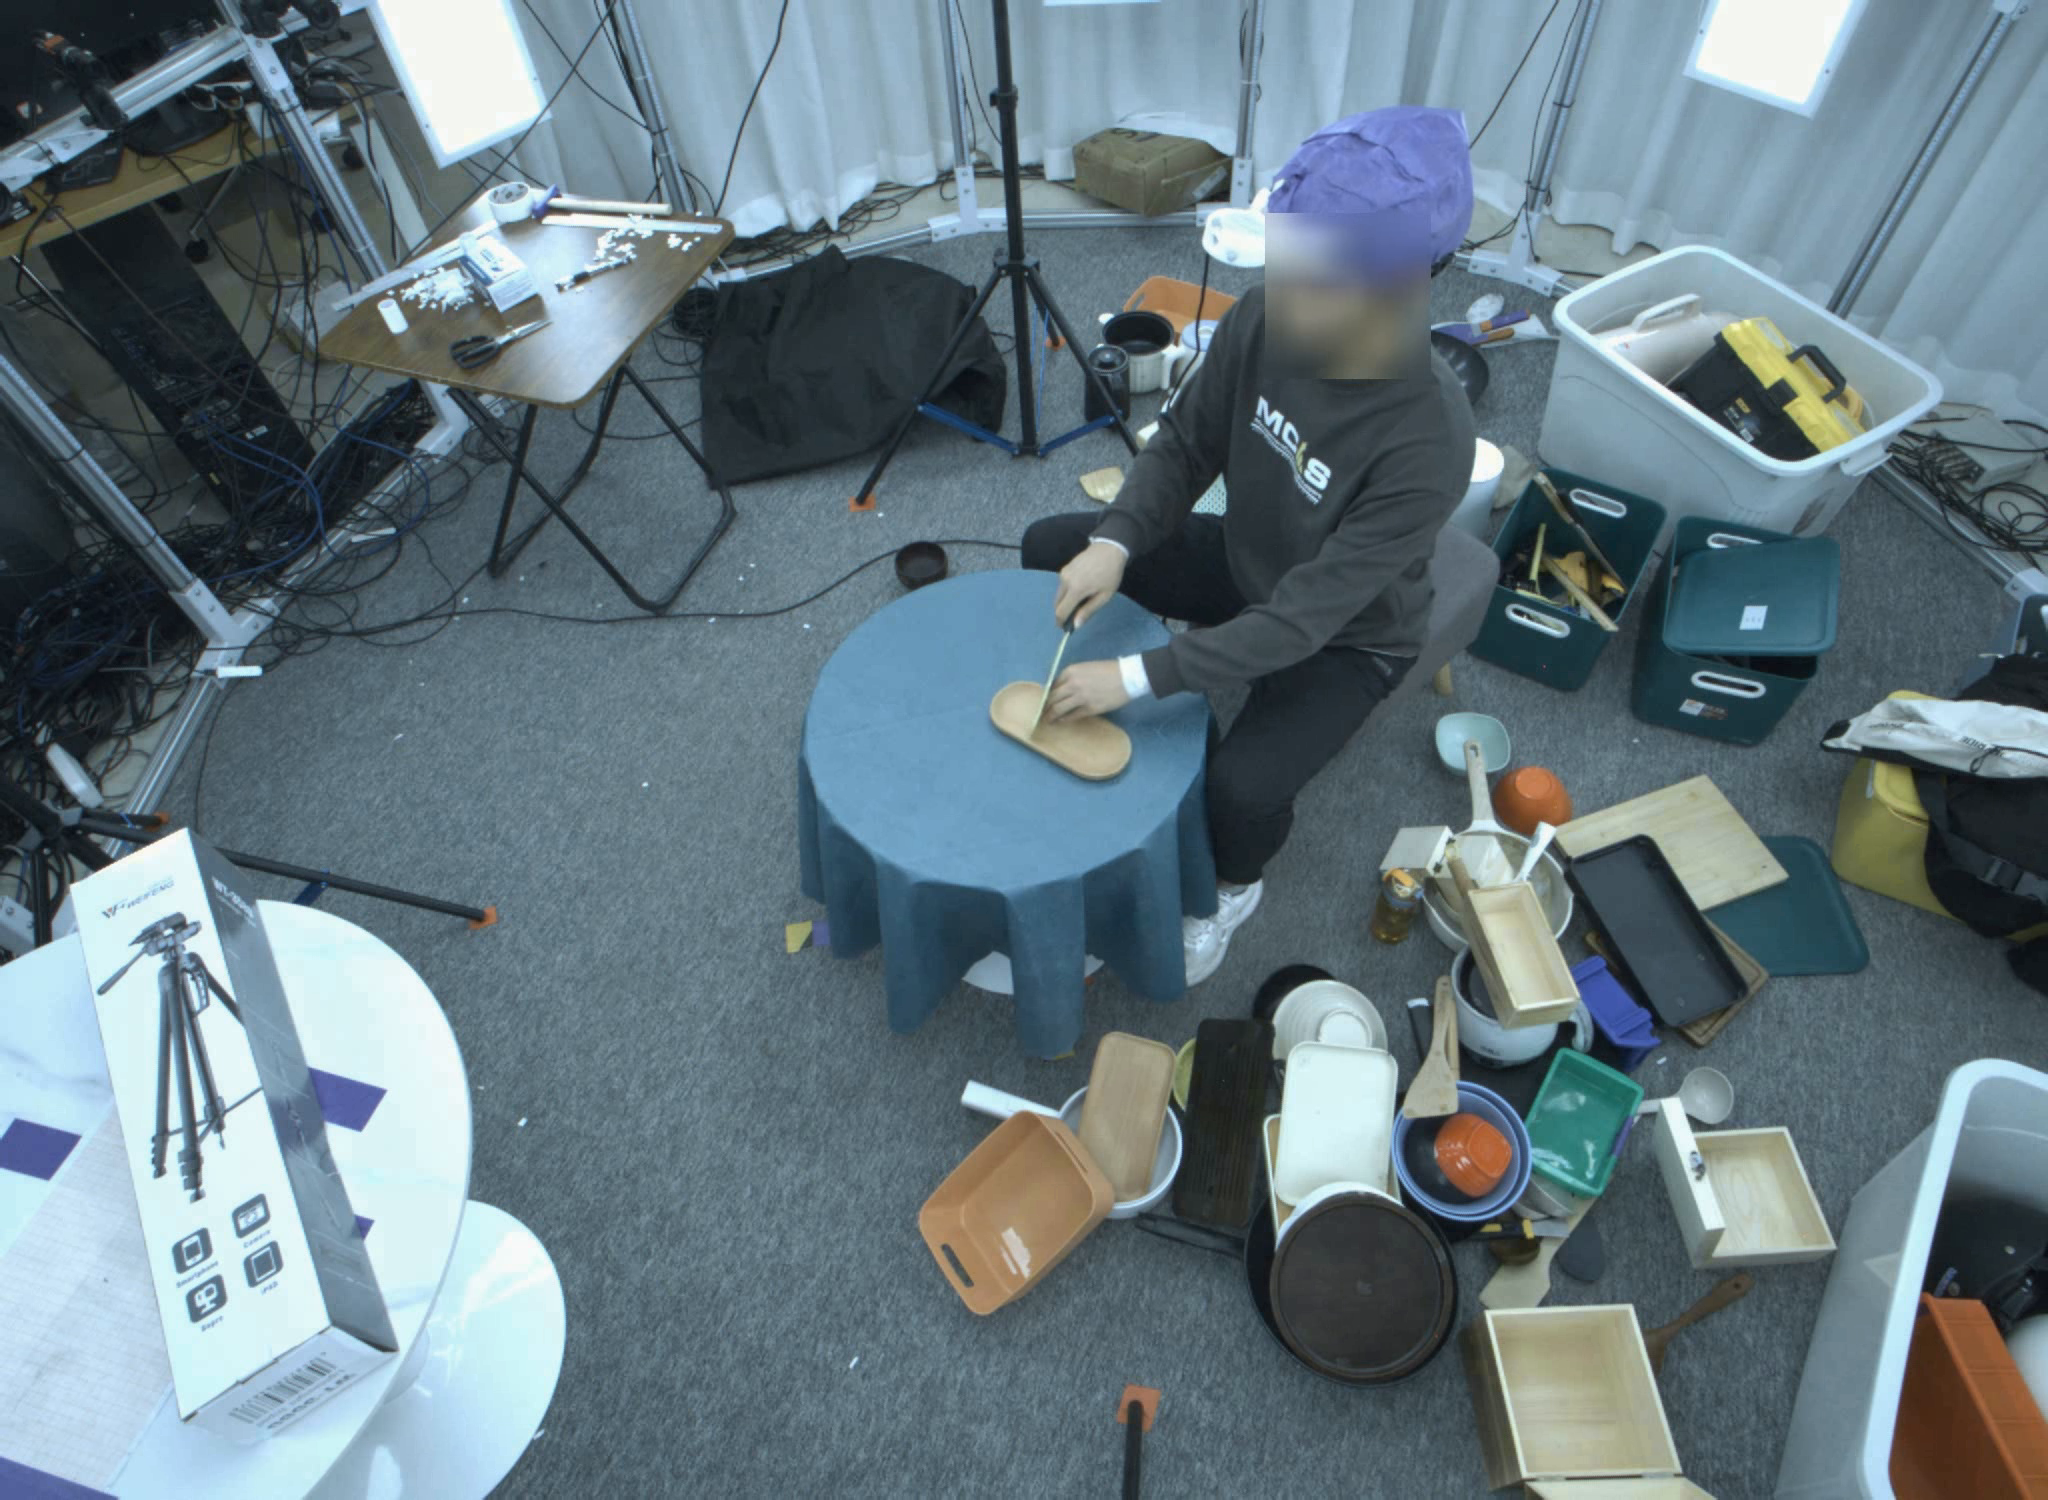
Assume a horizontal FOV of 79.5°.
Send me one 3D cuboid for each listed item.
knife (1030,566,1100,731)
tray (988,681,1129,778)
[{"bbox_3d":[0.057,-0.152,1.831,0.027,0.081,0.289,23,67,-5],"label":"knife"},{"bbox_3d":[0.049,-0.031,1.806,0.227,0.020,0.102,29,58,22],"label":"tray"}]
